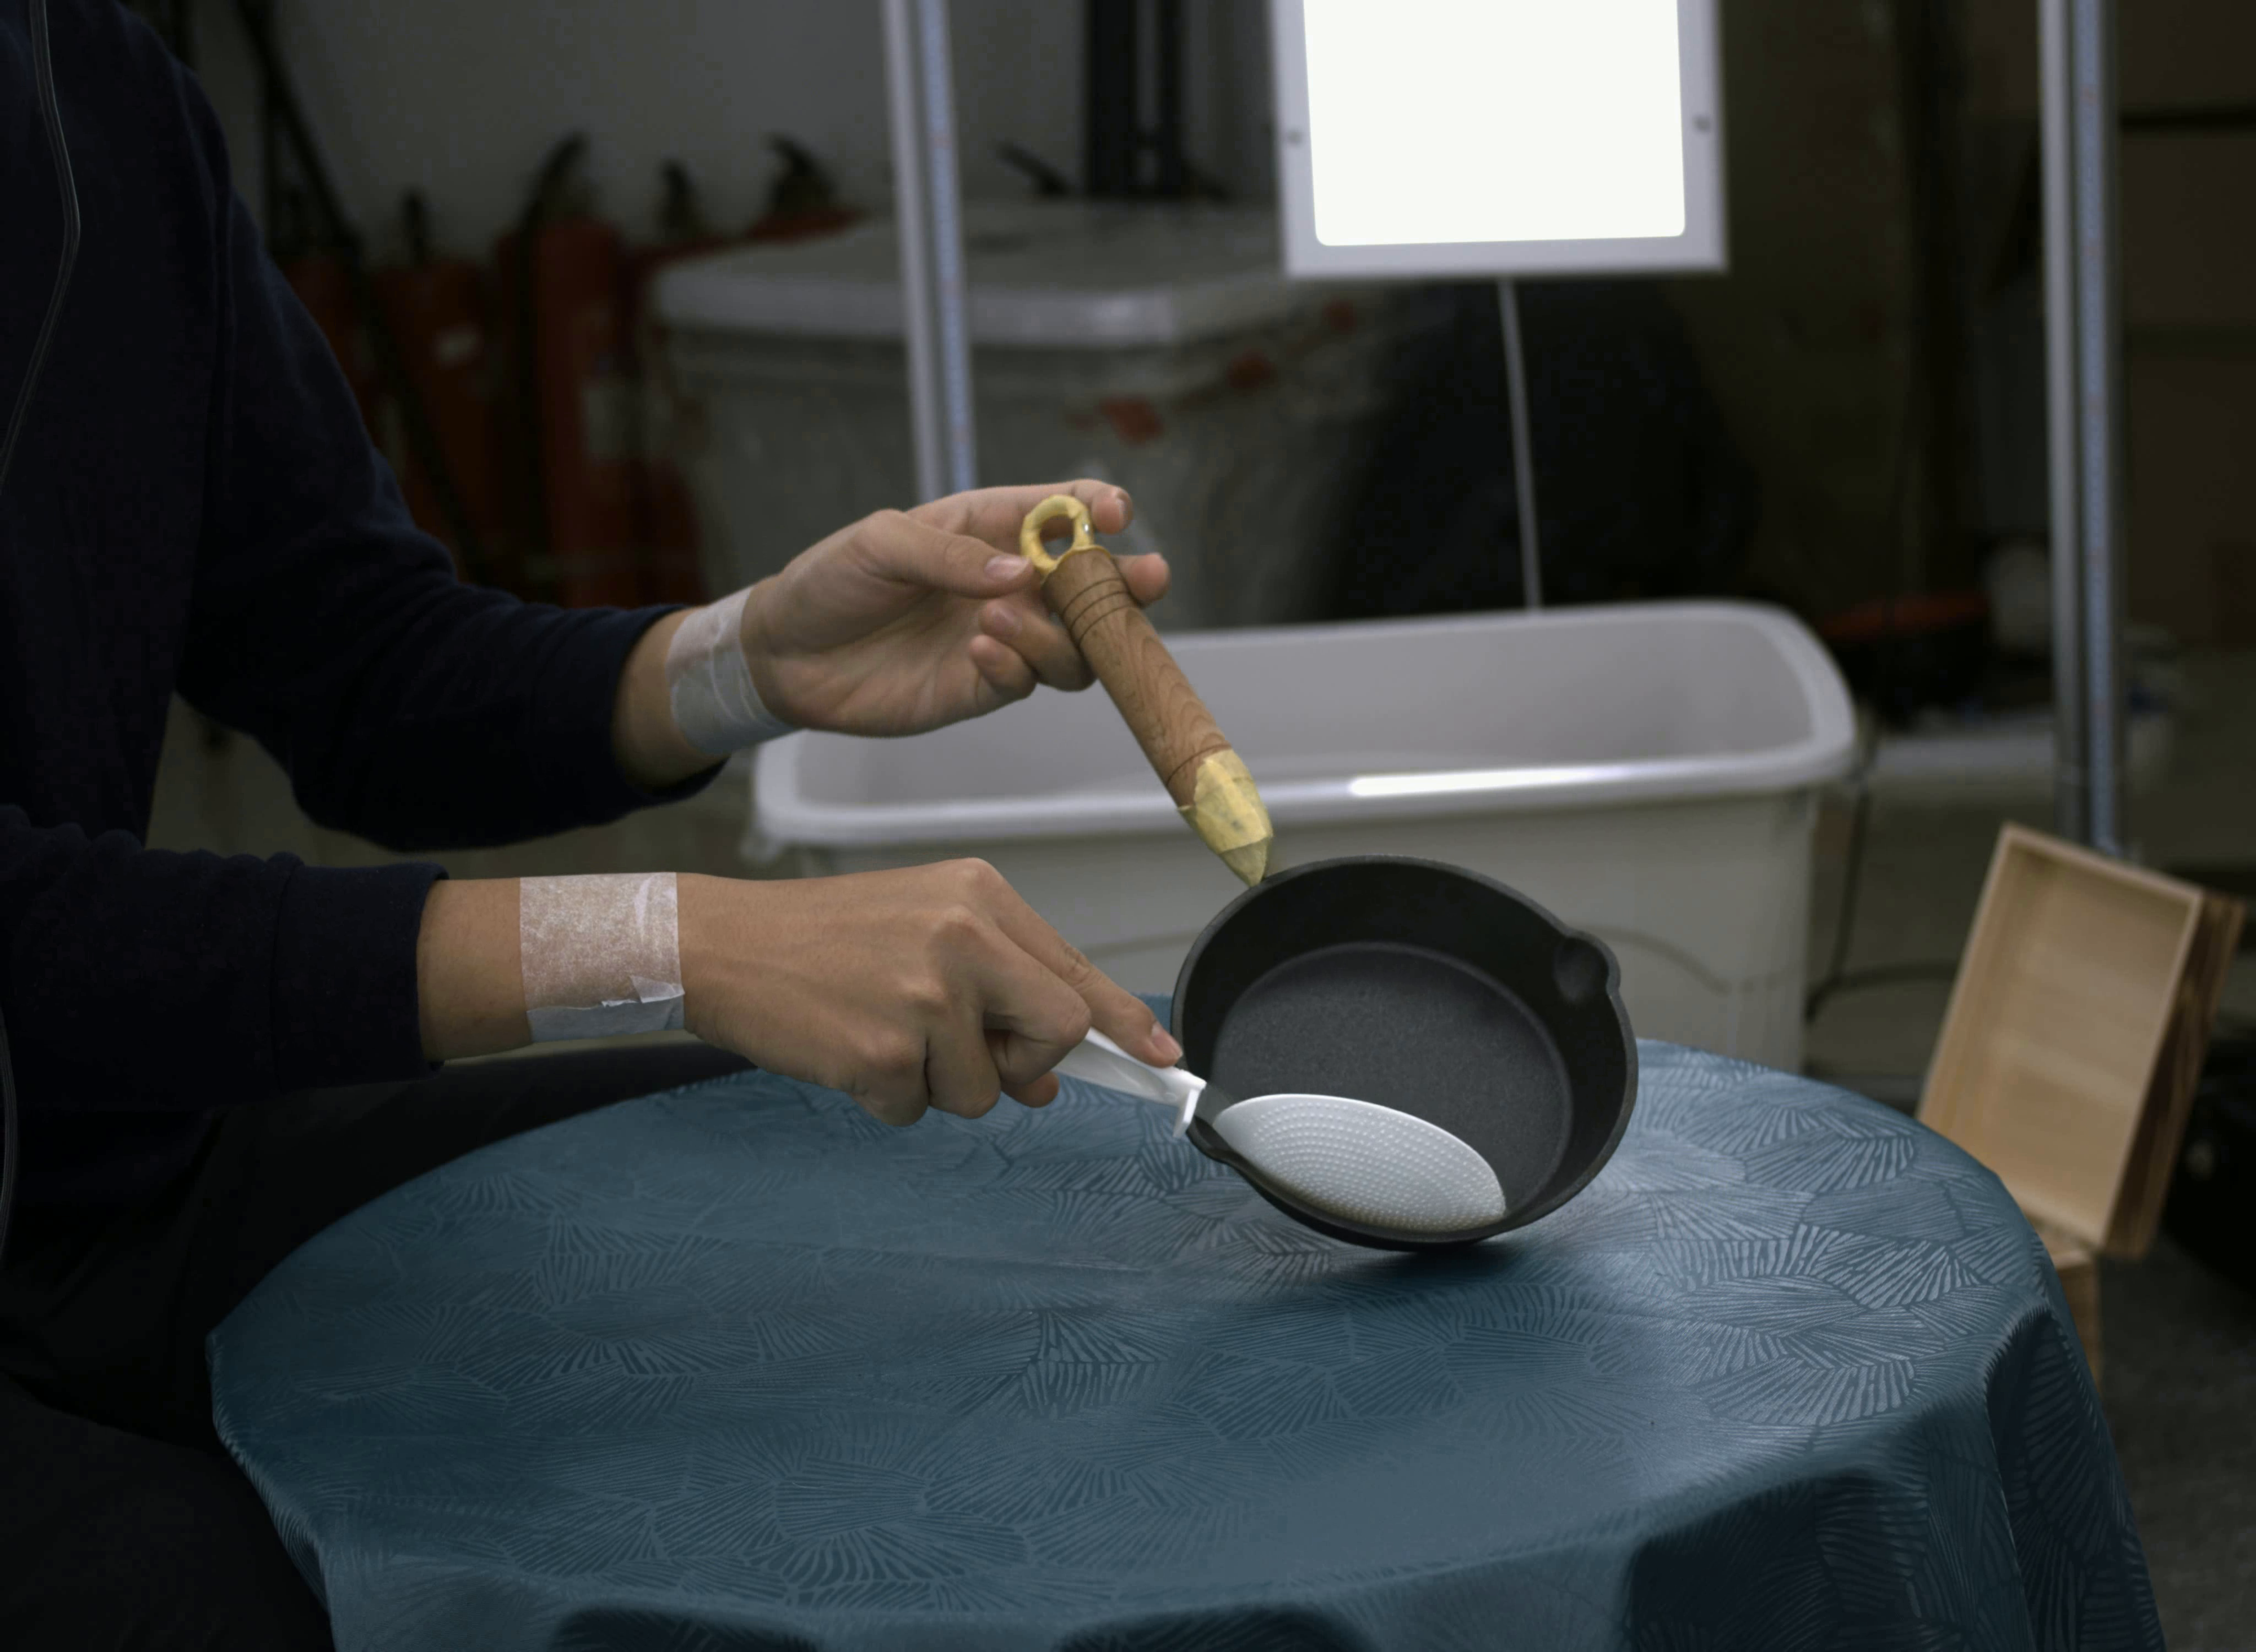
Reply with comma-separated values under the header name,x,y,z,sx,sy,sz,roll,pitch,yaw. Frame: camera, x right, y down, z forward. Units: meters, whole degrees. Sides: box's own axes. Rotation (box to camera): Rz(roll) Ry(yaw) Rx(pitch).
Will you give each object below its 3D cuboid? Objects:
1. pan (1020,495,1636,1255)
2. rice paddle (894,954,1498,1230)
name,x,y,z,sx,sy,sz,roll,pitch,yaw
pan,0.049,0.014,1.869,0.166,0.050,0.327,-22,59,-20
rice paddle,0.025,0.090,1.780,0.204,0.070,0.029,20,56,-5
